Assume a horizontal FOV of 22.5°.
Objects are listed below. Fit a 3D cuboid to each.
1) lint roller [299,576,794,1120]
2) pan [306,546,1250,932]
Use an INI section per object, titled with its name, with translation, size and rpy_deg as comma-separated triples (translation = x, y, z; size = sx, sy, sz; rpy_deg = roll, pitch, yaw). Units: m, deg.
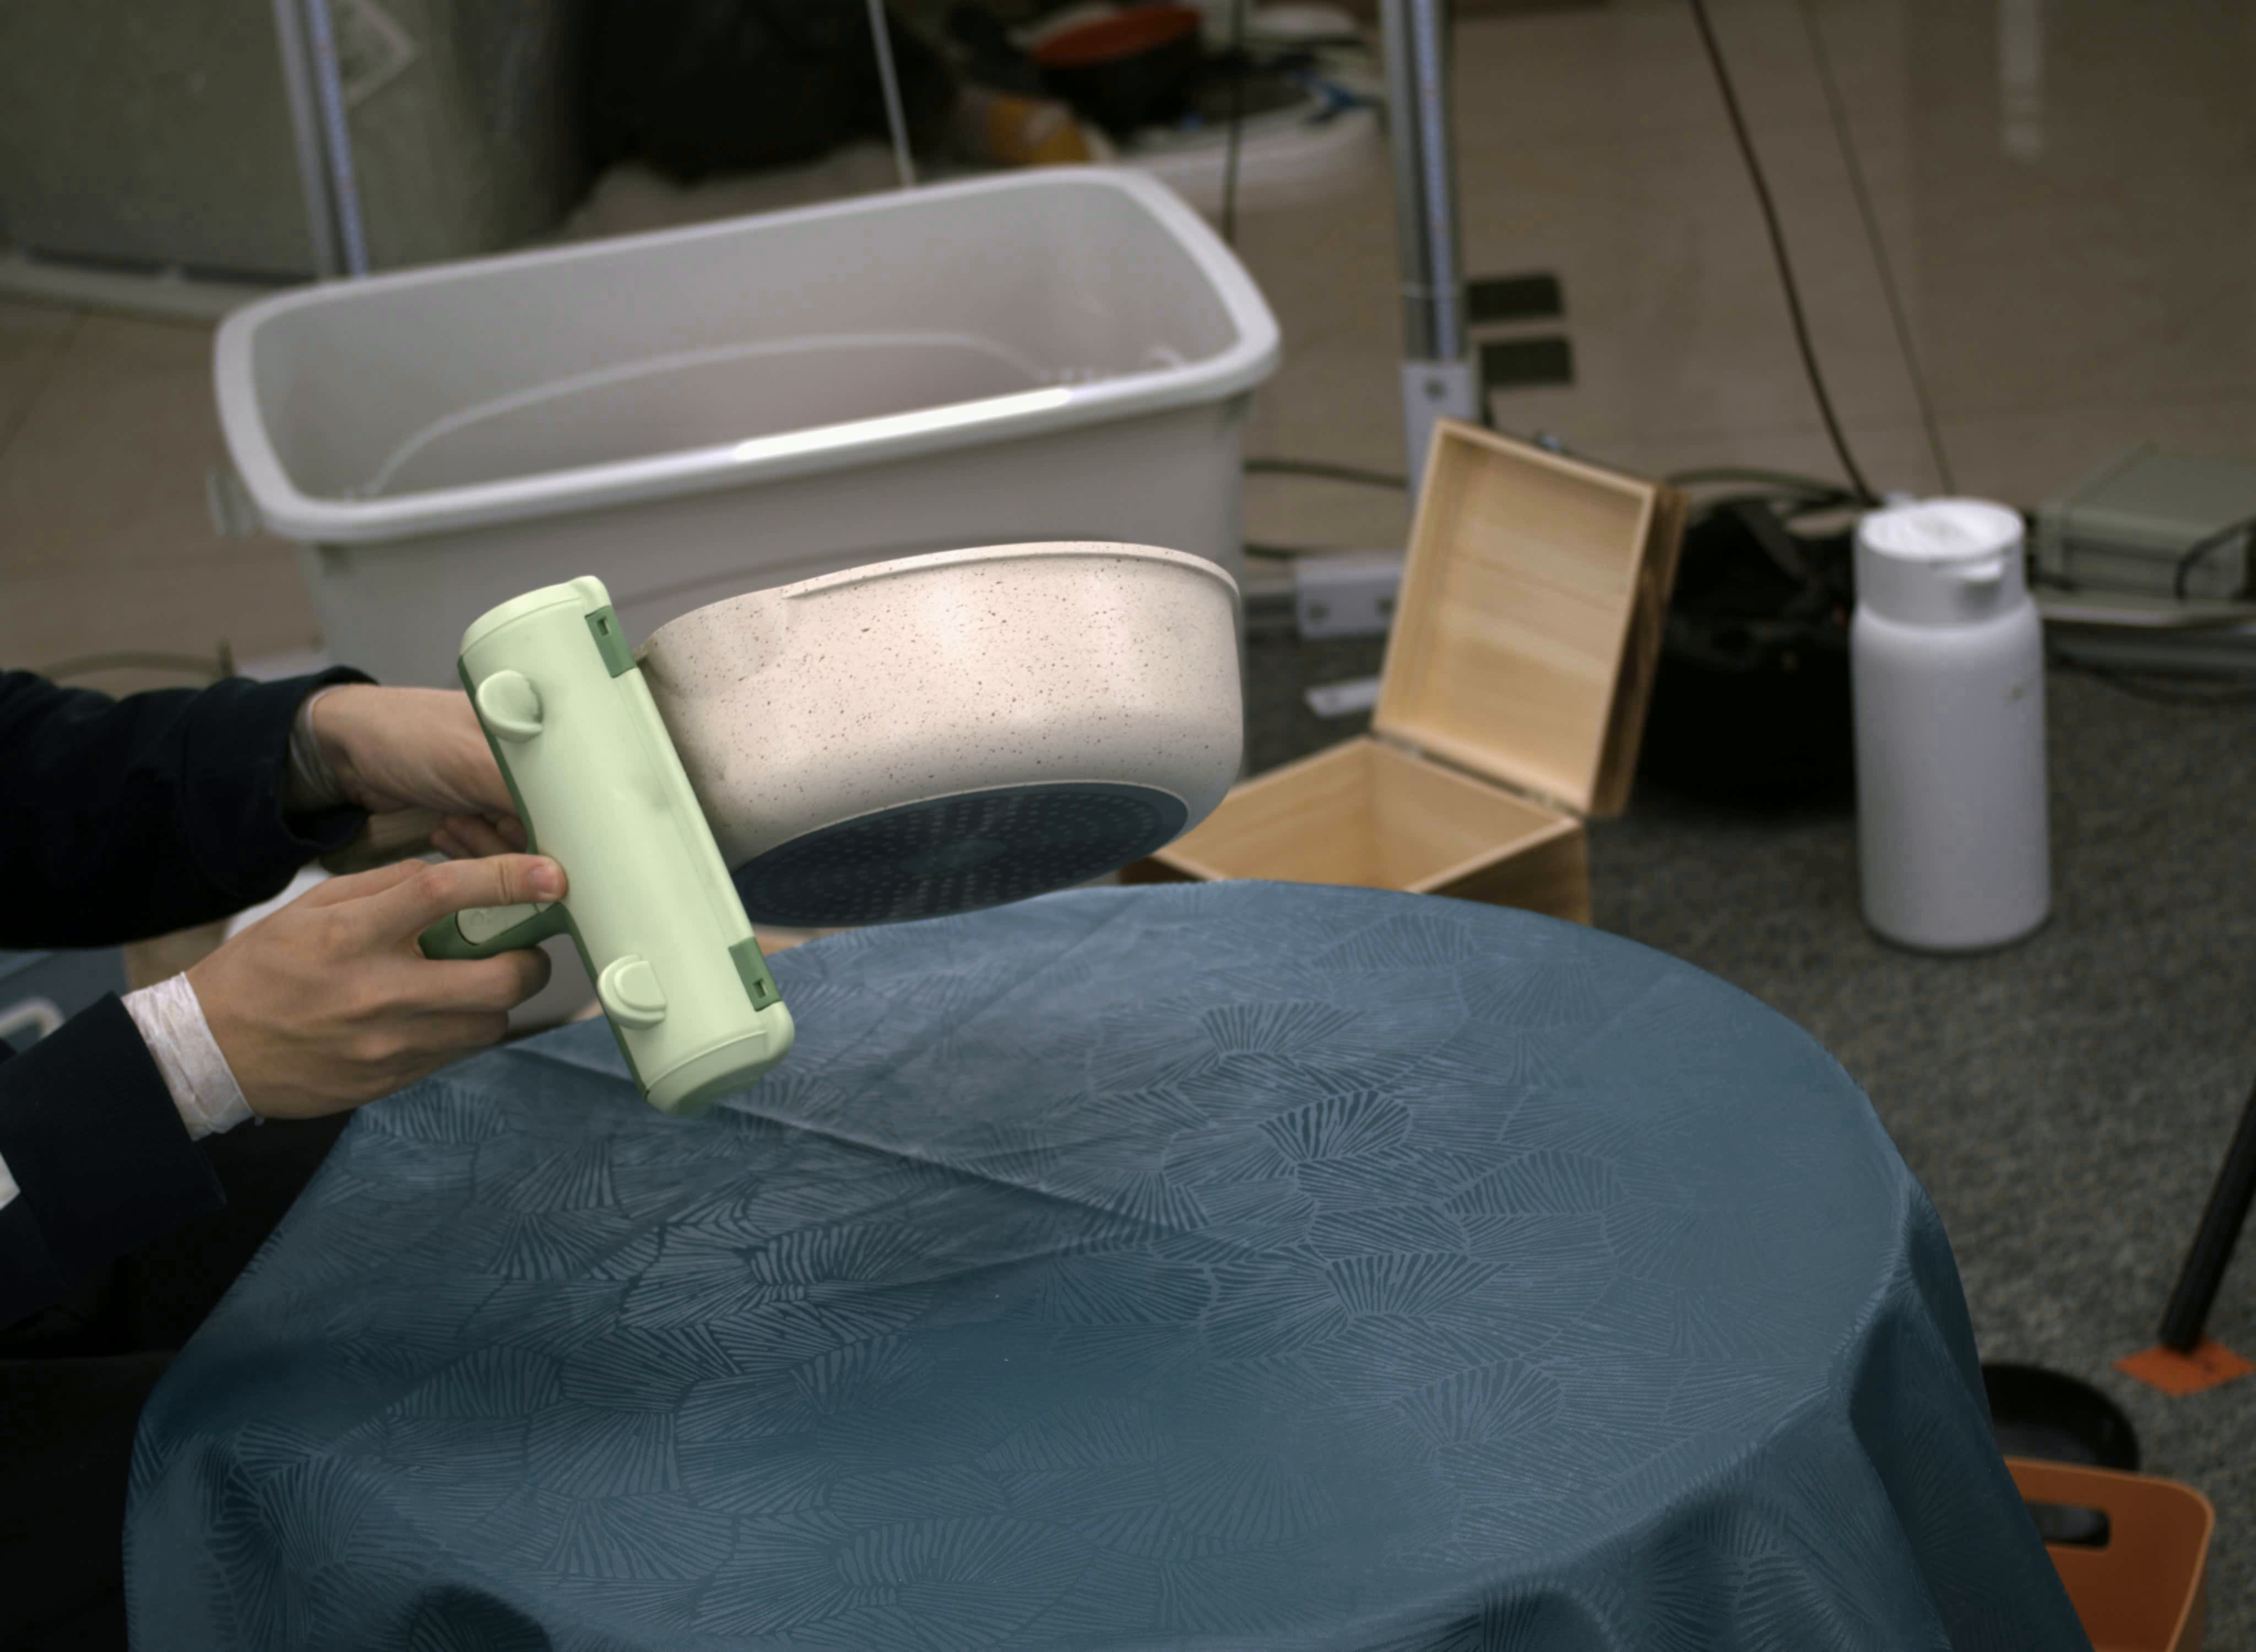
[lint roller]
translation = -0.234, 0.032, 2.054
size = 0.184, 0.197, 0.082
rpy_deg = -27, -11, 12
[pan]
translation = -0.146, -0.007, 2.192
size = 0.436, 0.101, 0.263
rpy_deg = -20, -13, 32
